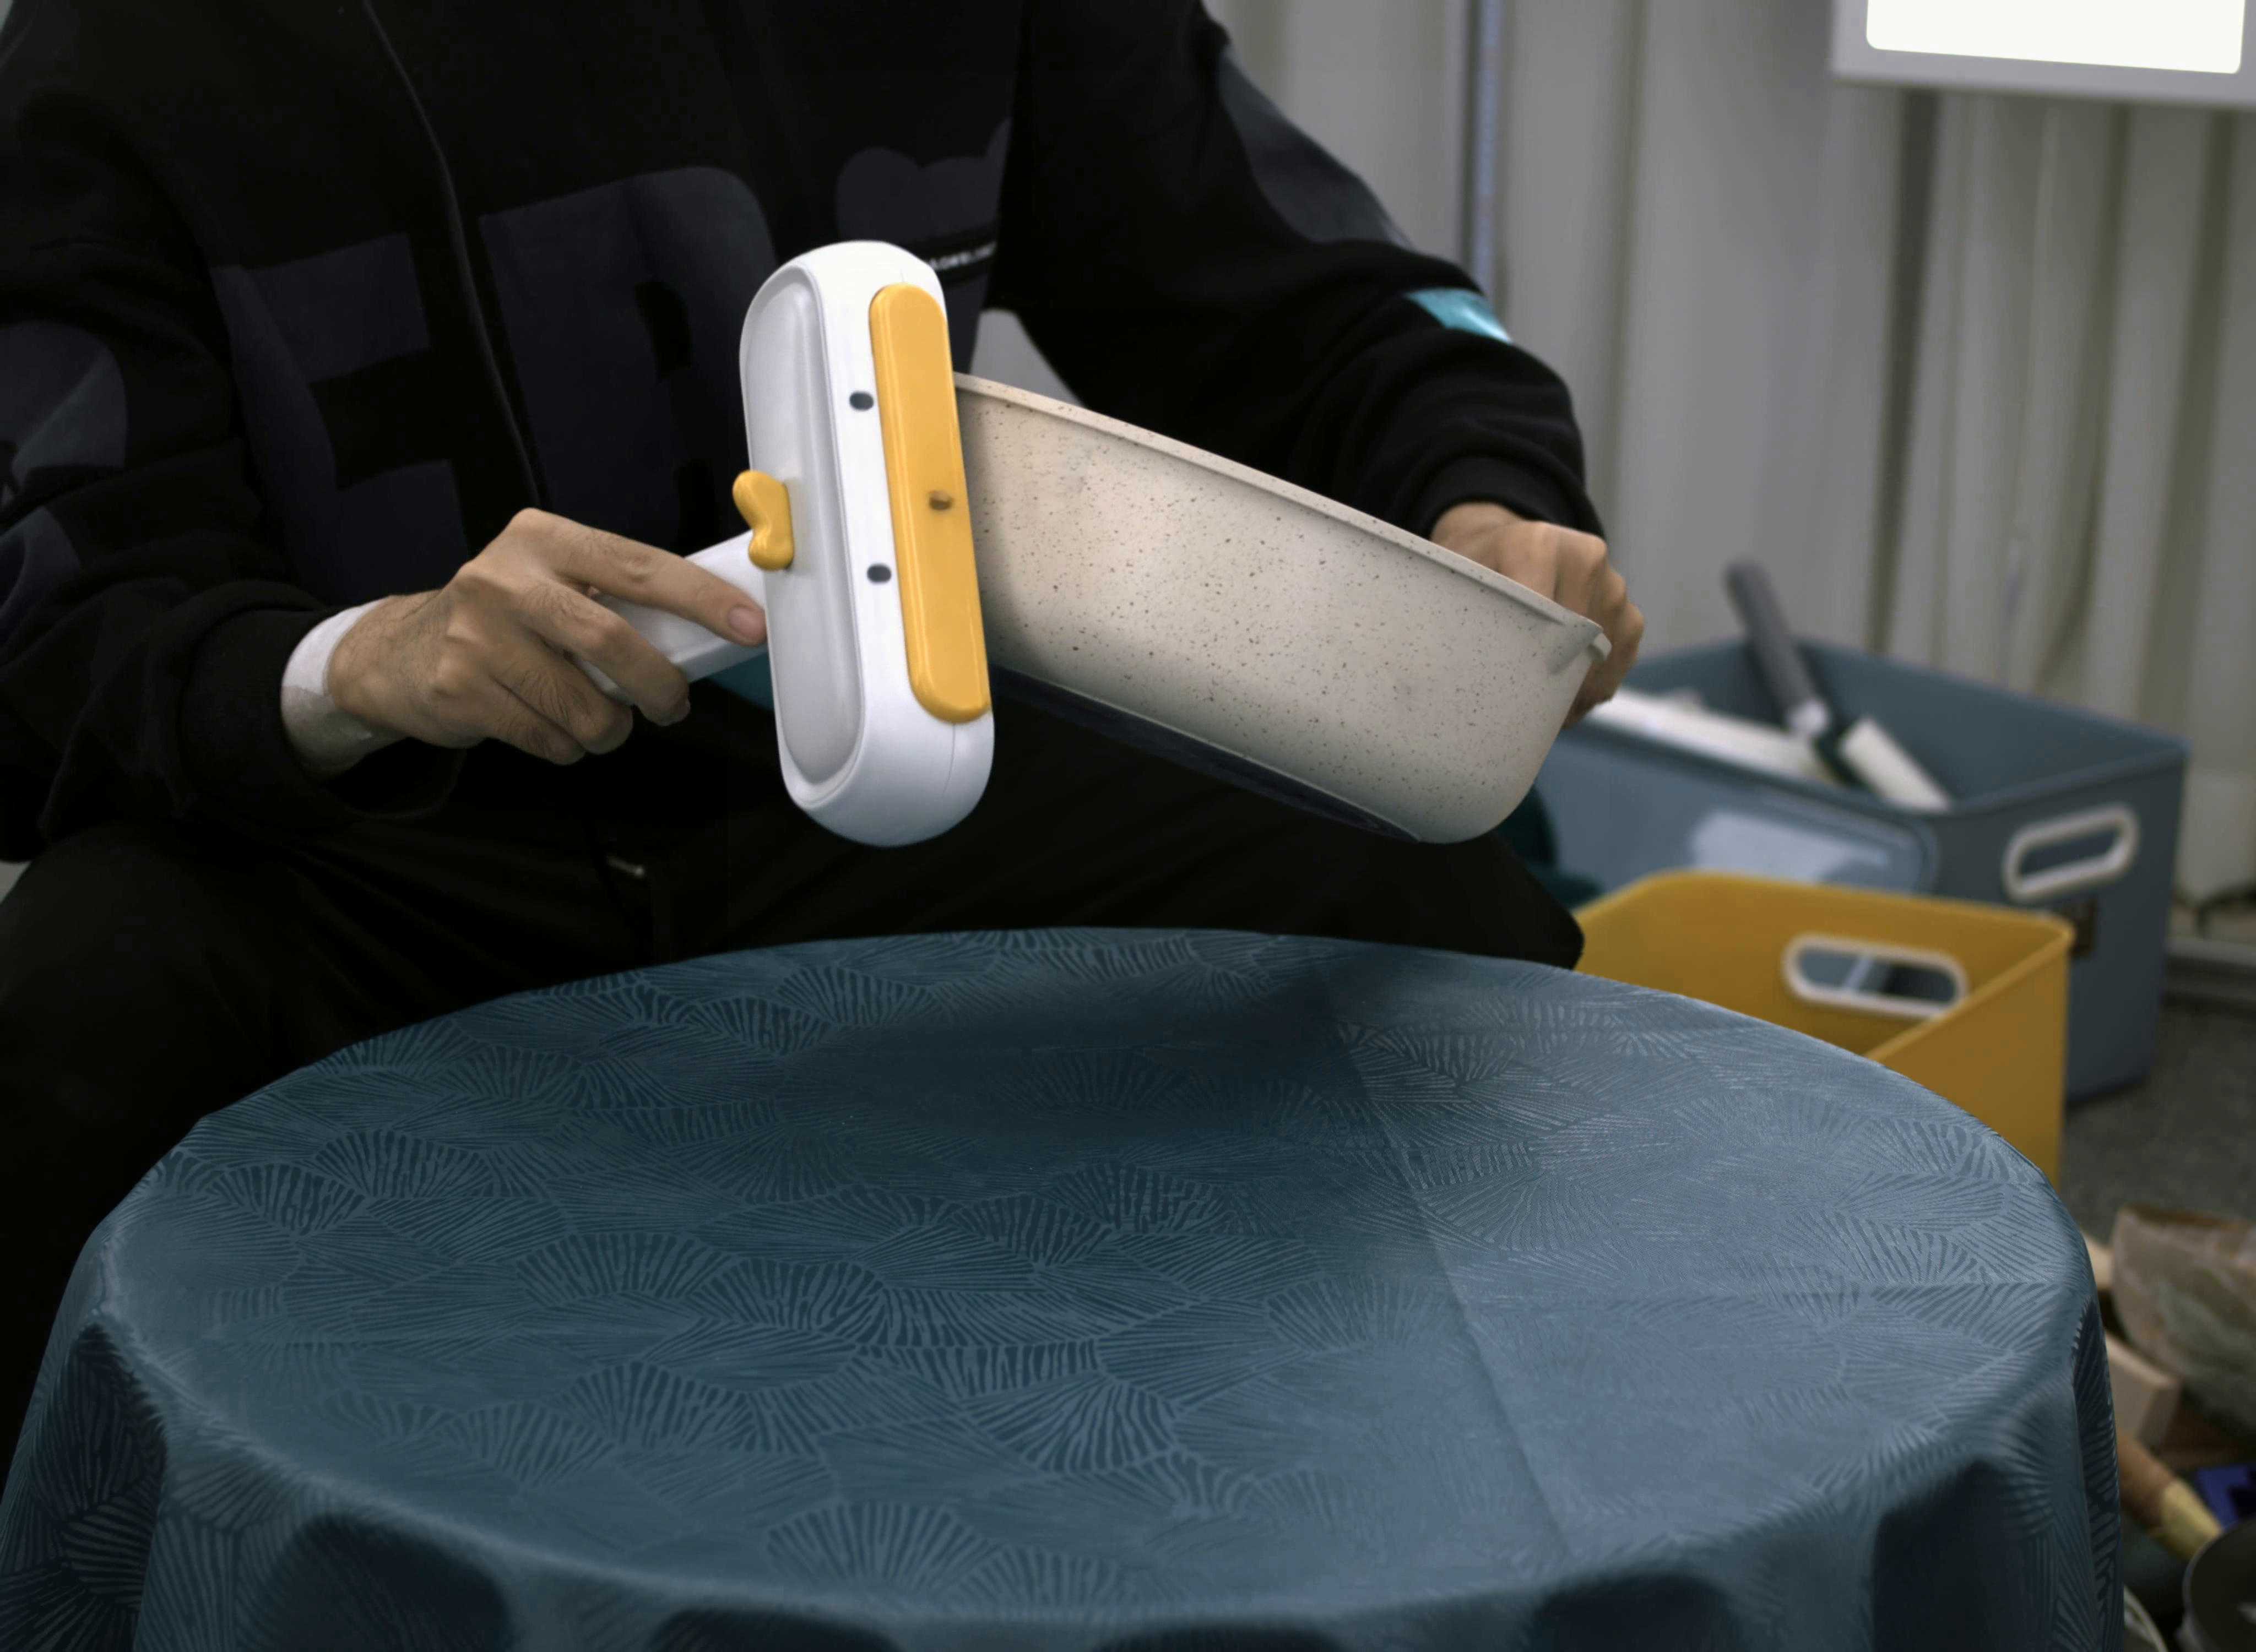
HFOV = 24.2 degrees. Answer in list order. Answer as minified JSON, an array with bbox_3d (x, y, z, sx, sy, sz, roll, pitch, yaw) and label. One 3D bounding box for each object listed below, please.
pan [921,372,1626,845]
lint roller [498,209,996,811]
[{"bbox_3d":[0.070,-0.053,1.791,0.260,0.102,0.439,17,-4,27],"label":"pan"},{"bbox_3d":[-0.123,-0.075,1.650,0.075,0.192,0.192,4,-26,-42],"label":"lint roller"}]
